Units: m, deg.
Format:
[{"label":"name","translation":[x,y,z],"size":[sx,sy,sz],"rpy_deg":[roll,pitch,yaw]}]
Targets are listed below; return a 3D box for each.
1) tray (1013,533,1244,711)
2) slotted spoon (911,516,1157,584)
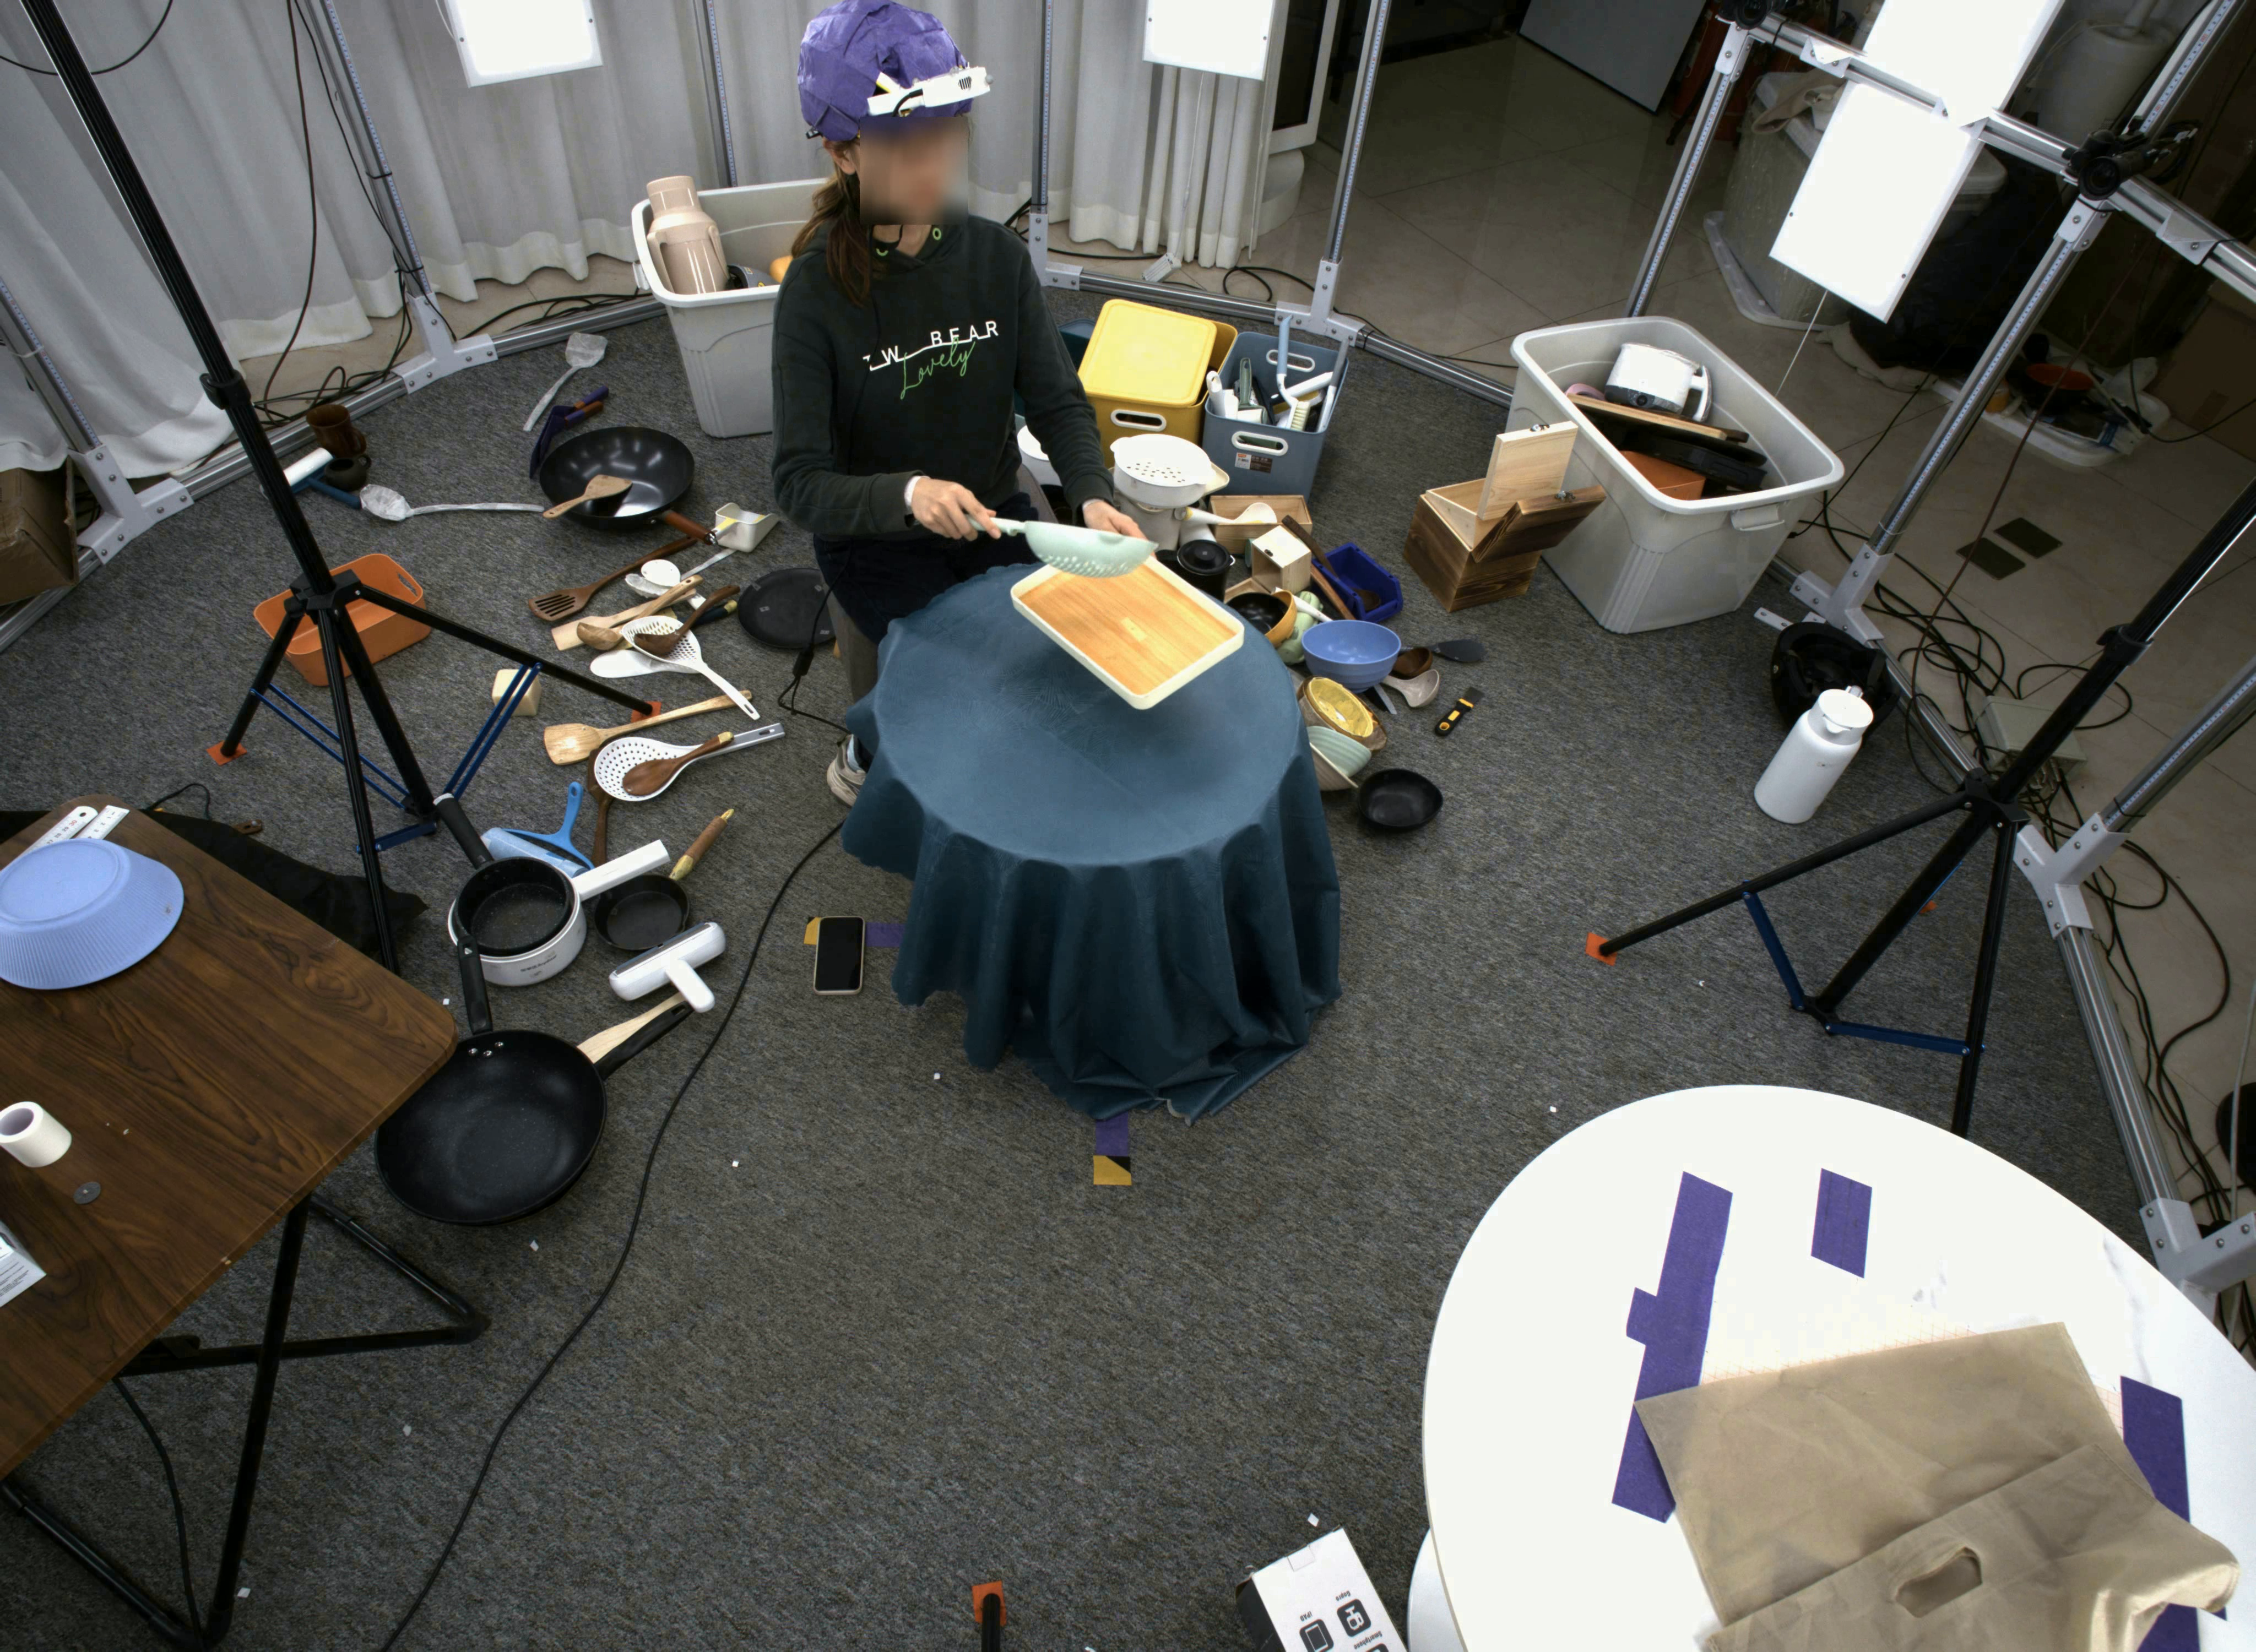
[{"label":"tray","translation":[-0.002,-0.287,1.773],"size":[0.193,0.027,0.306],"rpy_deg":[-34,54,-19]},{"label":"slotted spoon","translation":[-0.138,-0.380,1.706],"size":[0.362,0.075,0.169],"rpy_deg":[22,13,25]}]
